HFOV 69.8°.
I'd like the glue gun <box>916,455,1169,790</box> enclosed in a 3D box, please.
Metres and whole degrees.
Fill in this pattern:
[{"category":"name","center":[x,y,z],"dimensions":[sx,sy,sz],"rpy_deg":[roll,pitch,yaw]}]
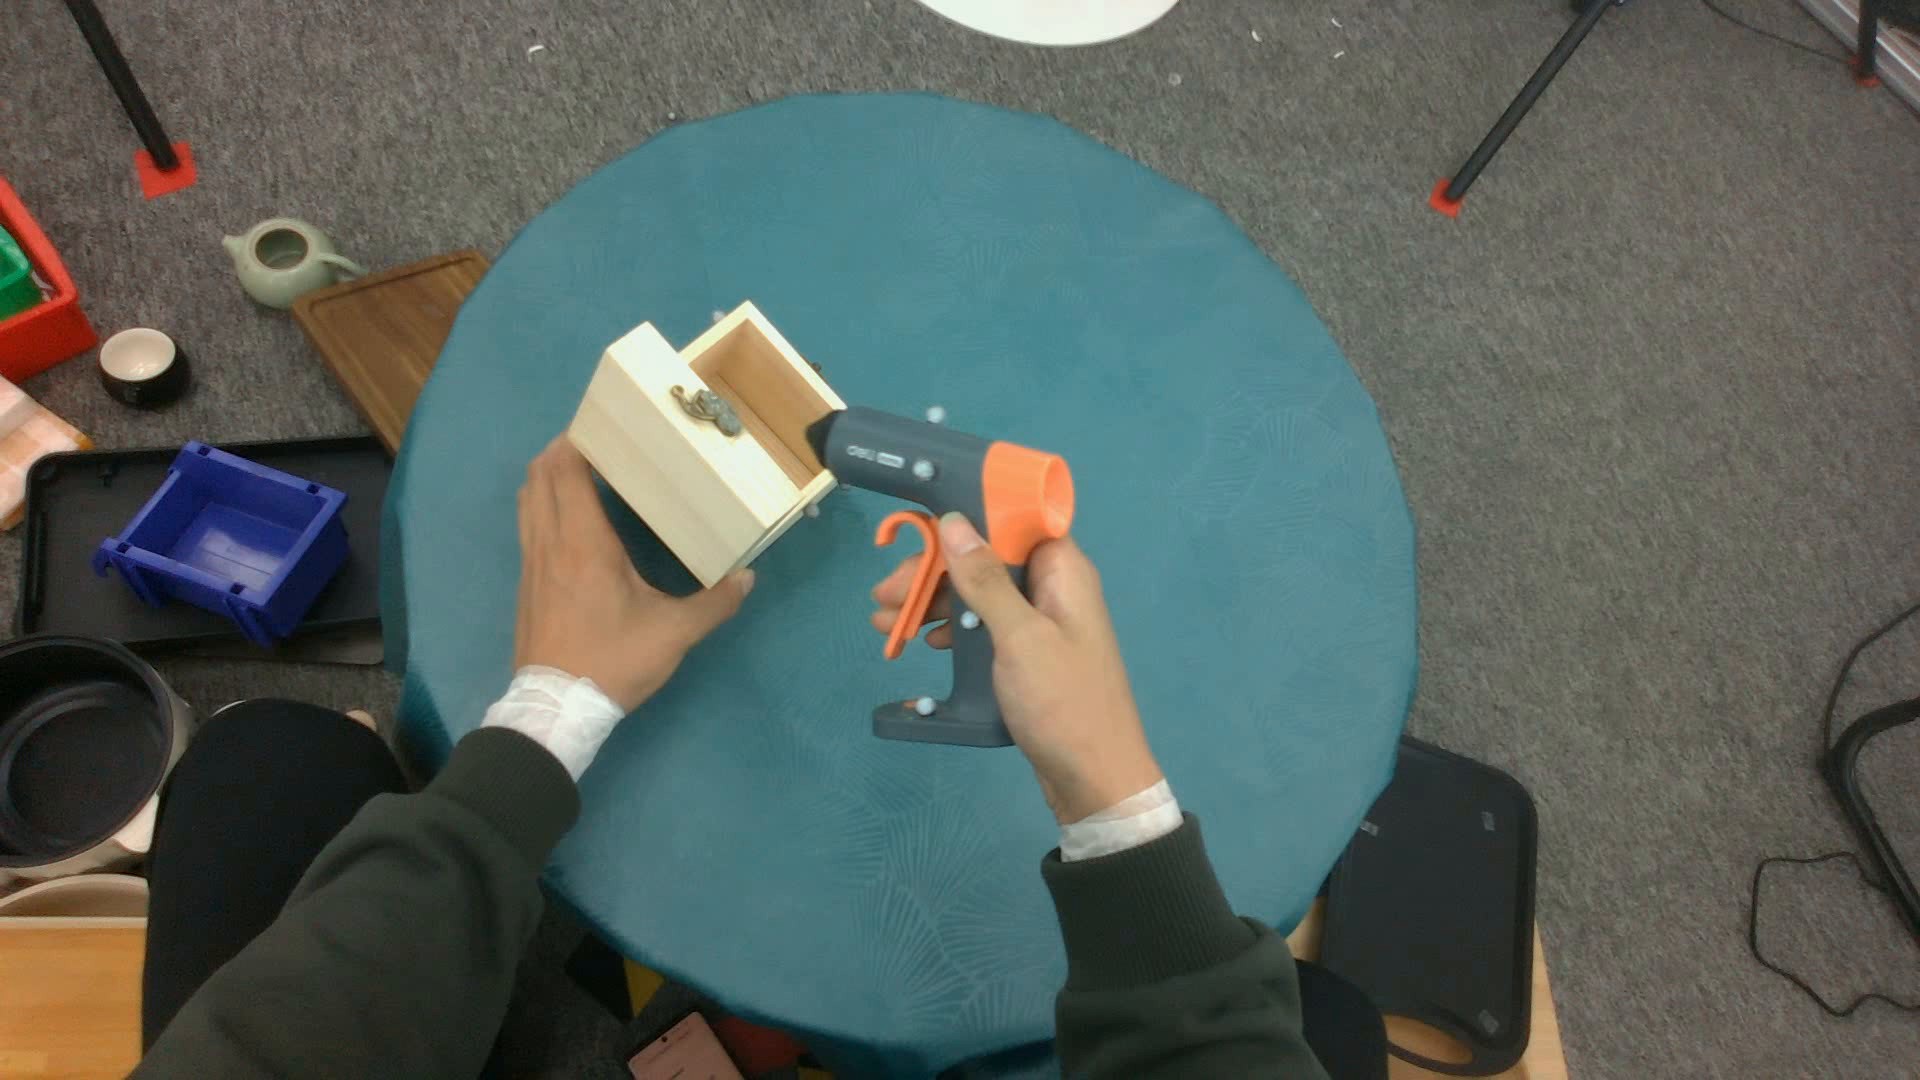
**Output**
[{"category":"glue gun","center":[0.031,0.032,0.594],"dimensions":[0.117,0.041,0.140],"rpy_deg":[-1,92,34]}]

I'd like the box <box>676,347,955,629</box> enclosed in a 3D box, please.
[{"category":"box","center":[-0.063,-0.037,0.709],"dimensions":[0.102,0.183,0.134],"rpy_deg":[48,65,1]}]
